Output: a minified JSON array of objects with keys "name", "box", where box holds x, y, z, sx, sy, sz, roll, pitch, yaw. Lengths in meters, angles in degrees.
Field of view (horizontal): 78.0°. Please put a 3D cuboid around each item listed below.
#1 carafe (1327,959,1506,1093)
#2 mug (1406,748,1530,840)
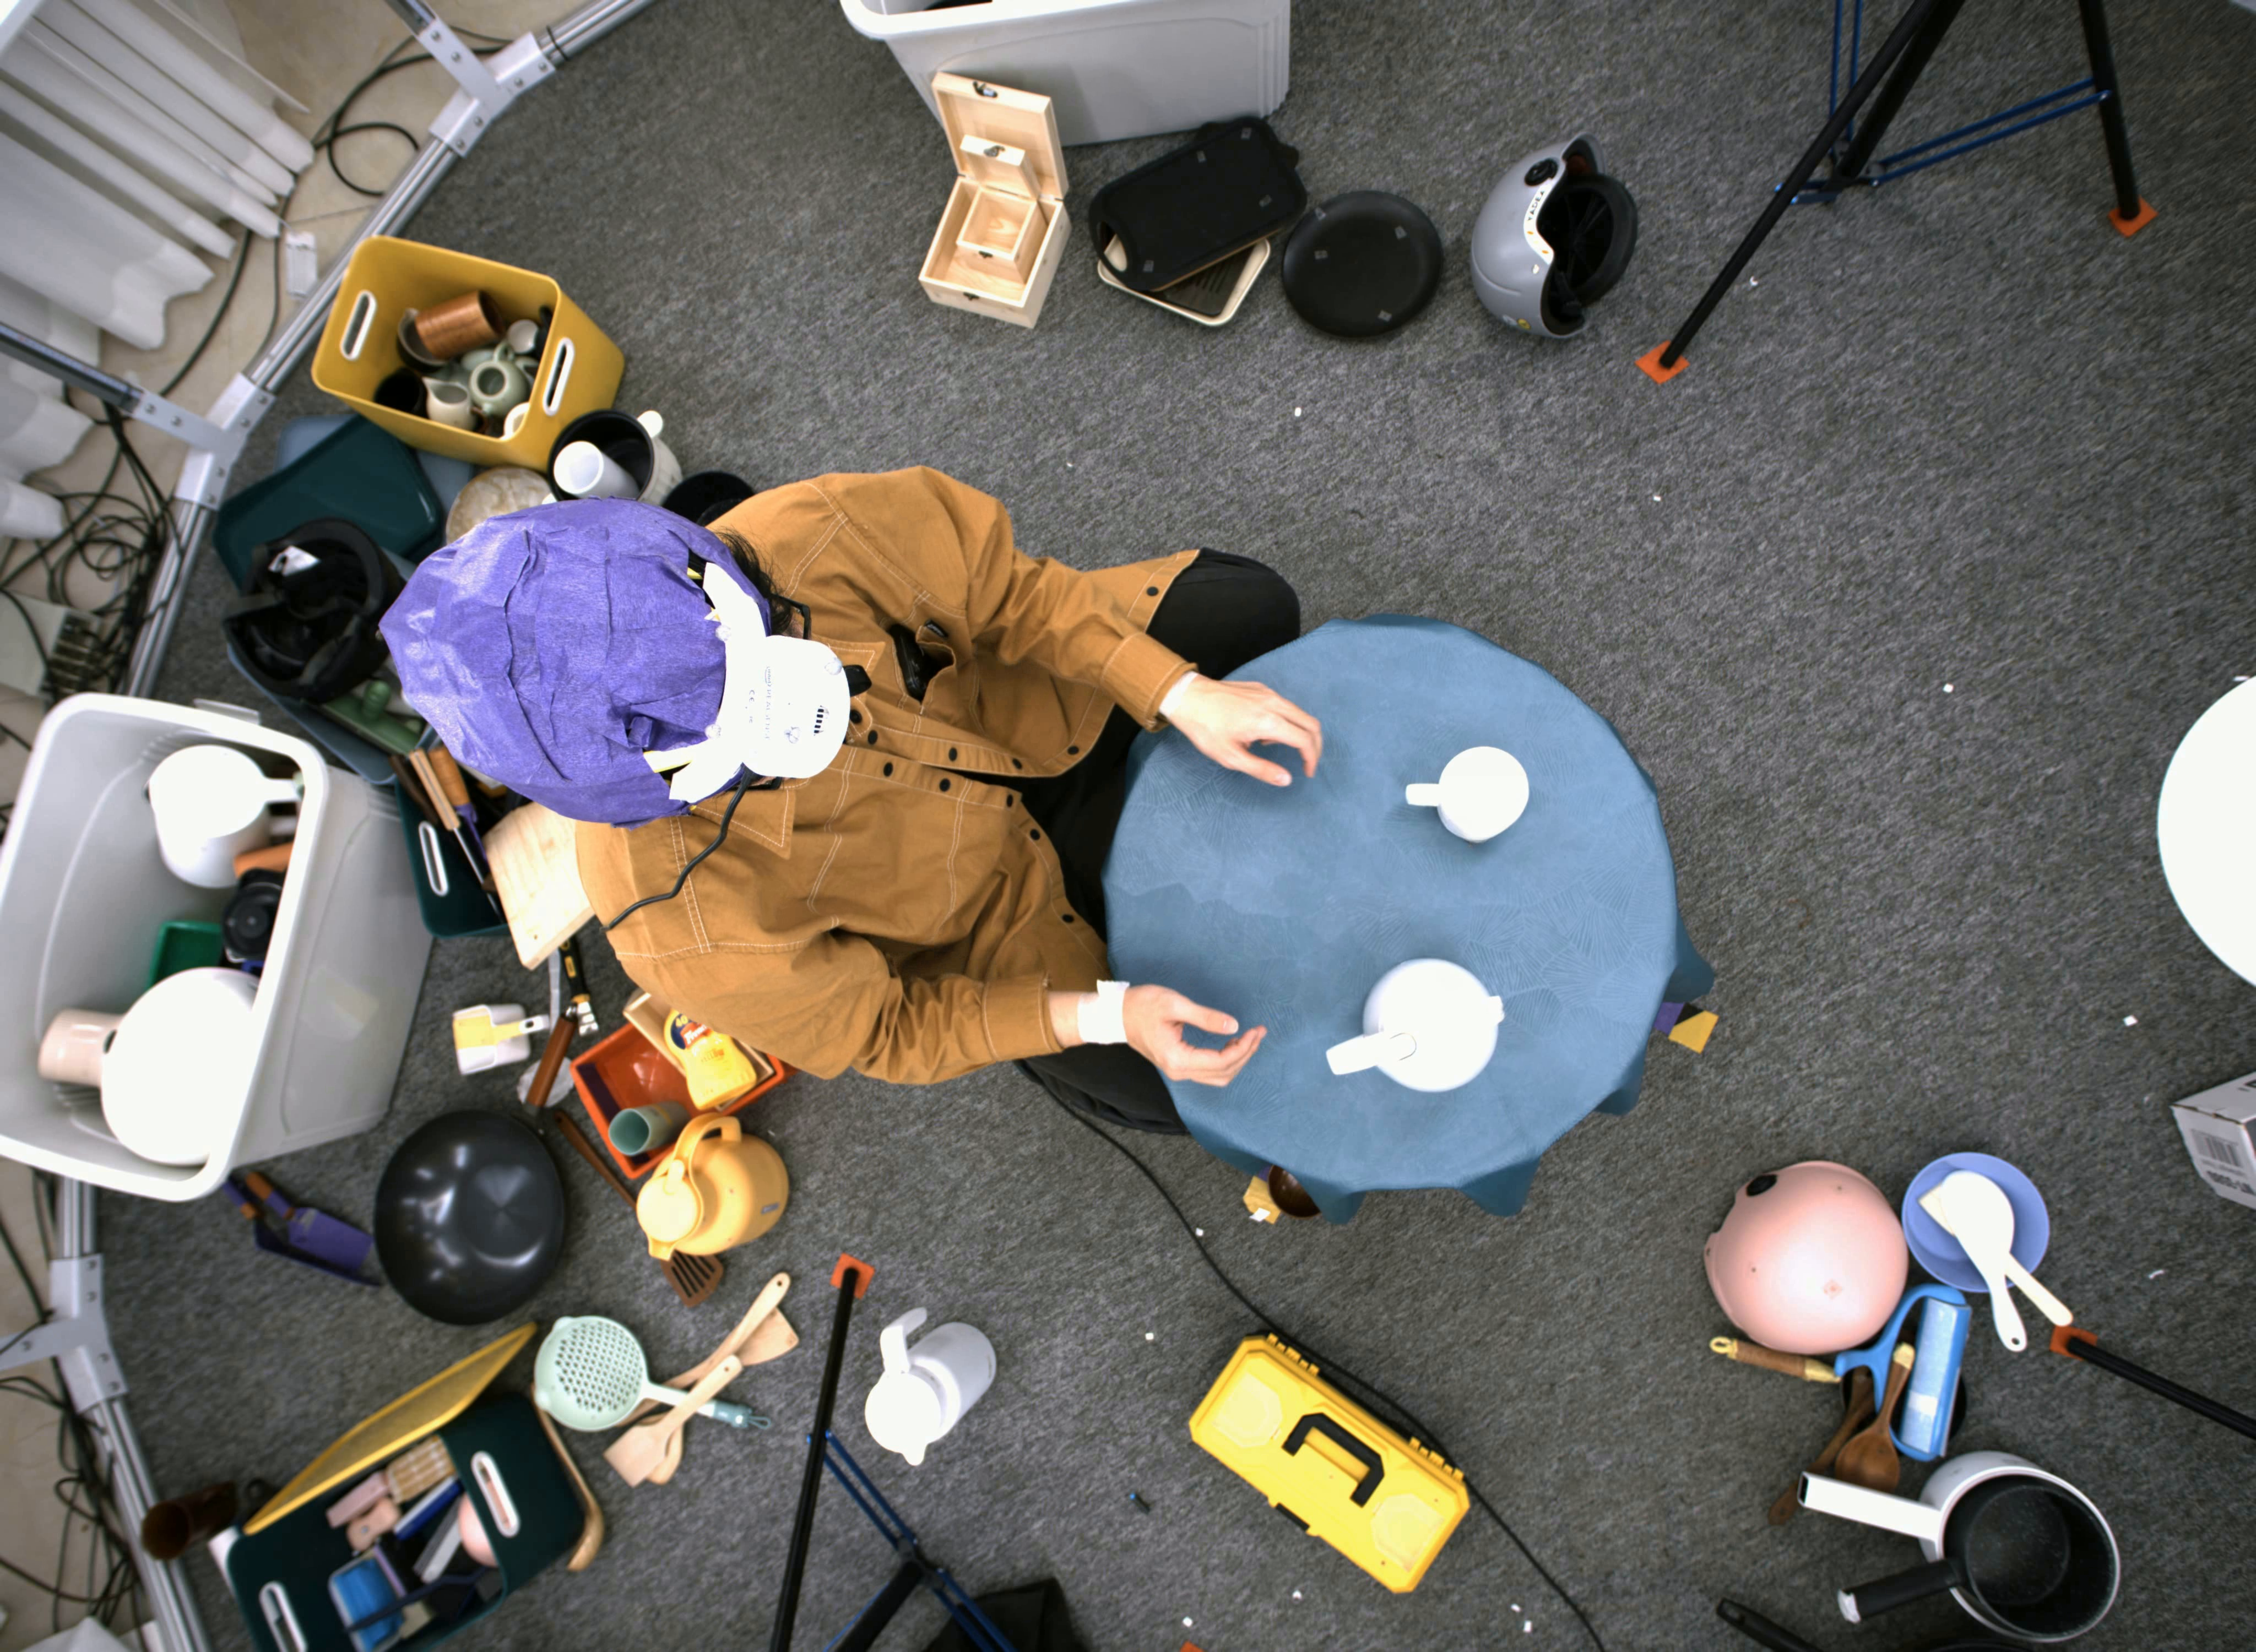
[{"name":"carafe","box":[0.274,0.200,1.328,0.169,0.248,0.131,-22,82,8]},{"name":"mug","box":[0.343,-0.032,1.398,0.119,0.102,0.084,-1,86,9]}]
